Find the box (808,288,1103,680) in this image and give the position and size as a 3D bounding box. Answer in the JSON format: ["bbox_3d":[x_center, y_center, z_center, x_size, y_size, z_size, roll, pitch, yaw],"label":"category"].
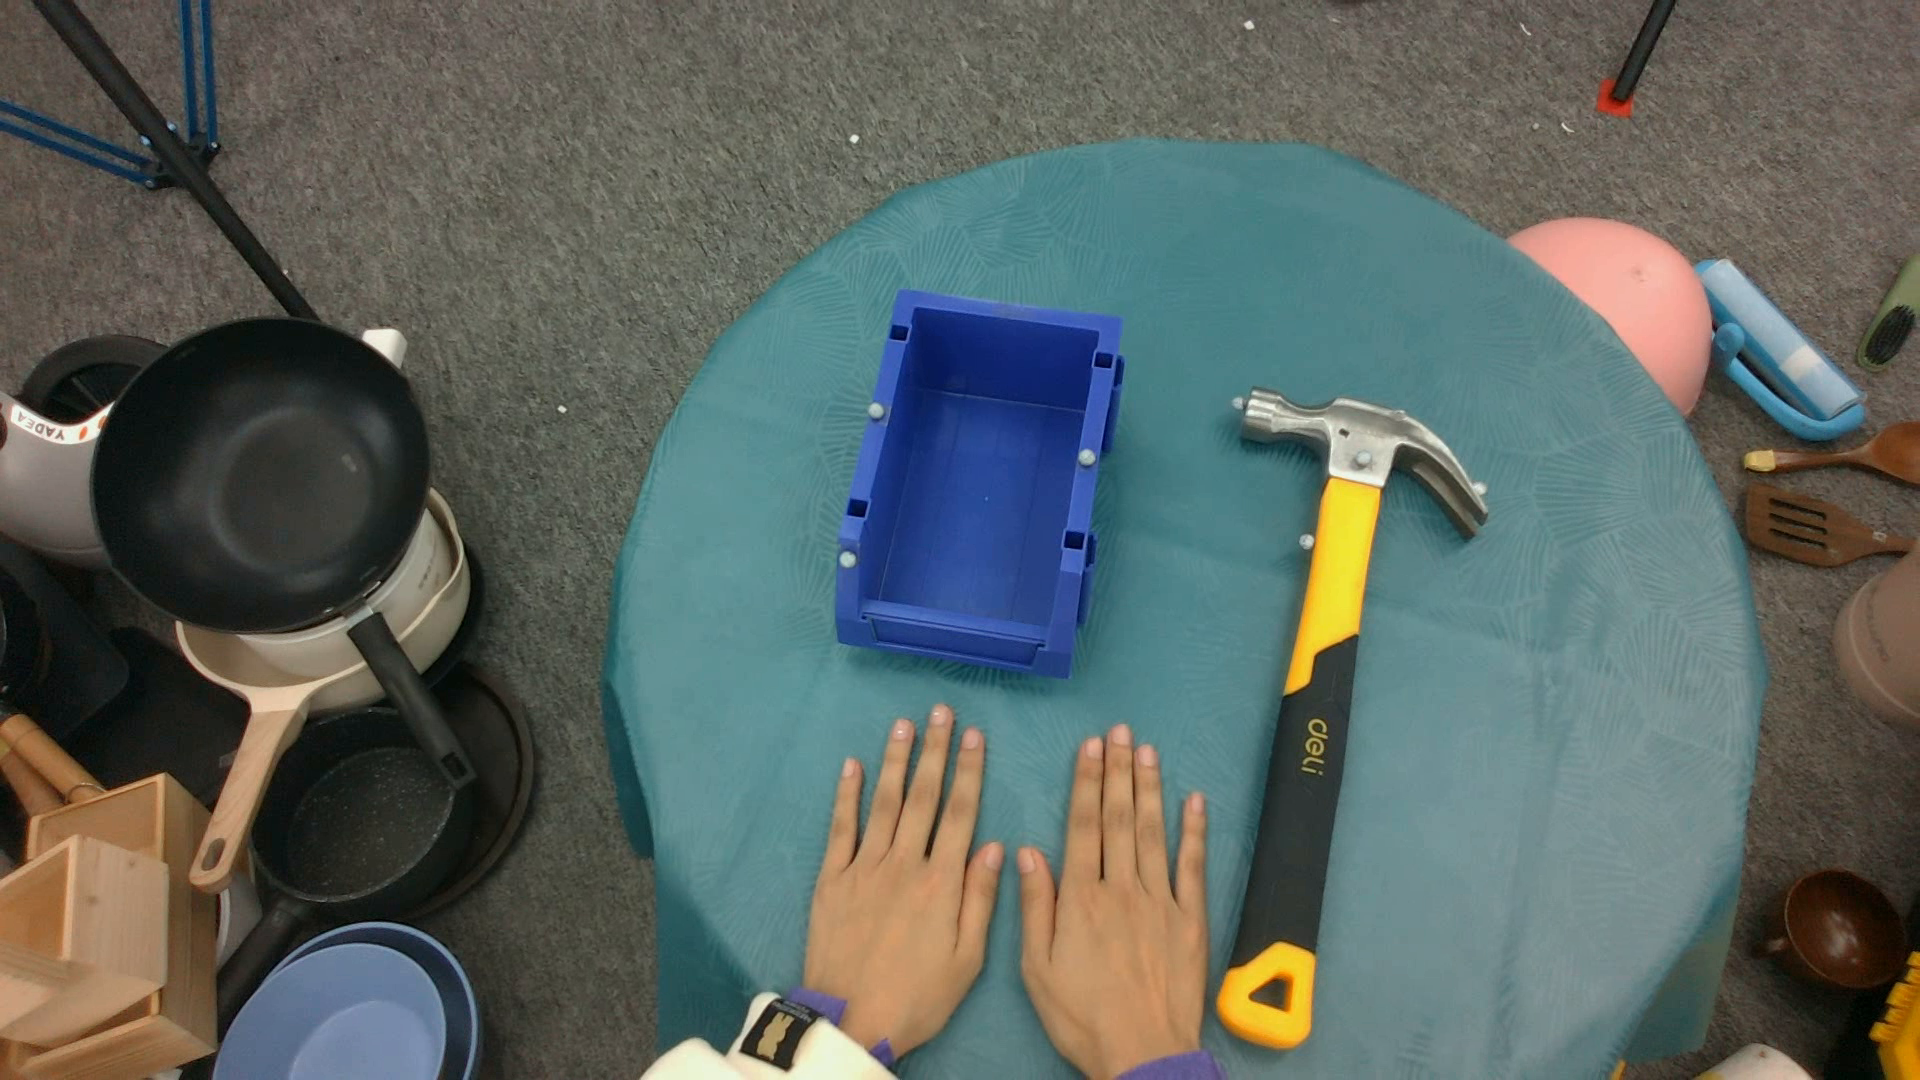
[{"bbox_3d":[0.001,-0.027,0.710,0.124,0.081,0.180,9,62,5],"label":"box"}]

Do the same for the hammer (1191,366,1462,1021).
[{"bbox_3d":[0.168,0.066,0.688,0.131,0.032,0.340,15,64,6],"label":"hammer"}]
